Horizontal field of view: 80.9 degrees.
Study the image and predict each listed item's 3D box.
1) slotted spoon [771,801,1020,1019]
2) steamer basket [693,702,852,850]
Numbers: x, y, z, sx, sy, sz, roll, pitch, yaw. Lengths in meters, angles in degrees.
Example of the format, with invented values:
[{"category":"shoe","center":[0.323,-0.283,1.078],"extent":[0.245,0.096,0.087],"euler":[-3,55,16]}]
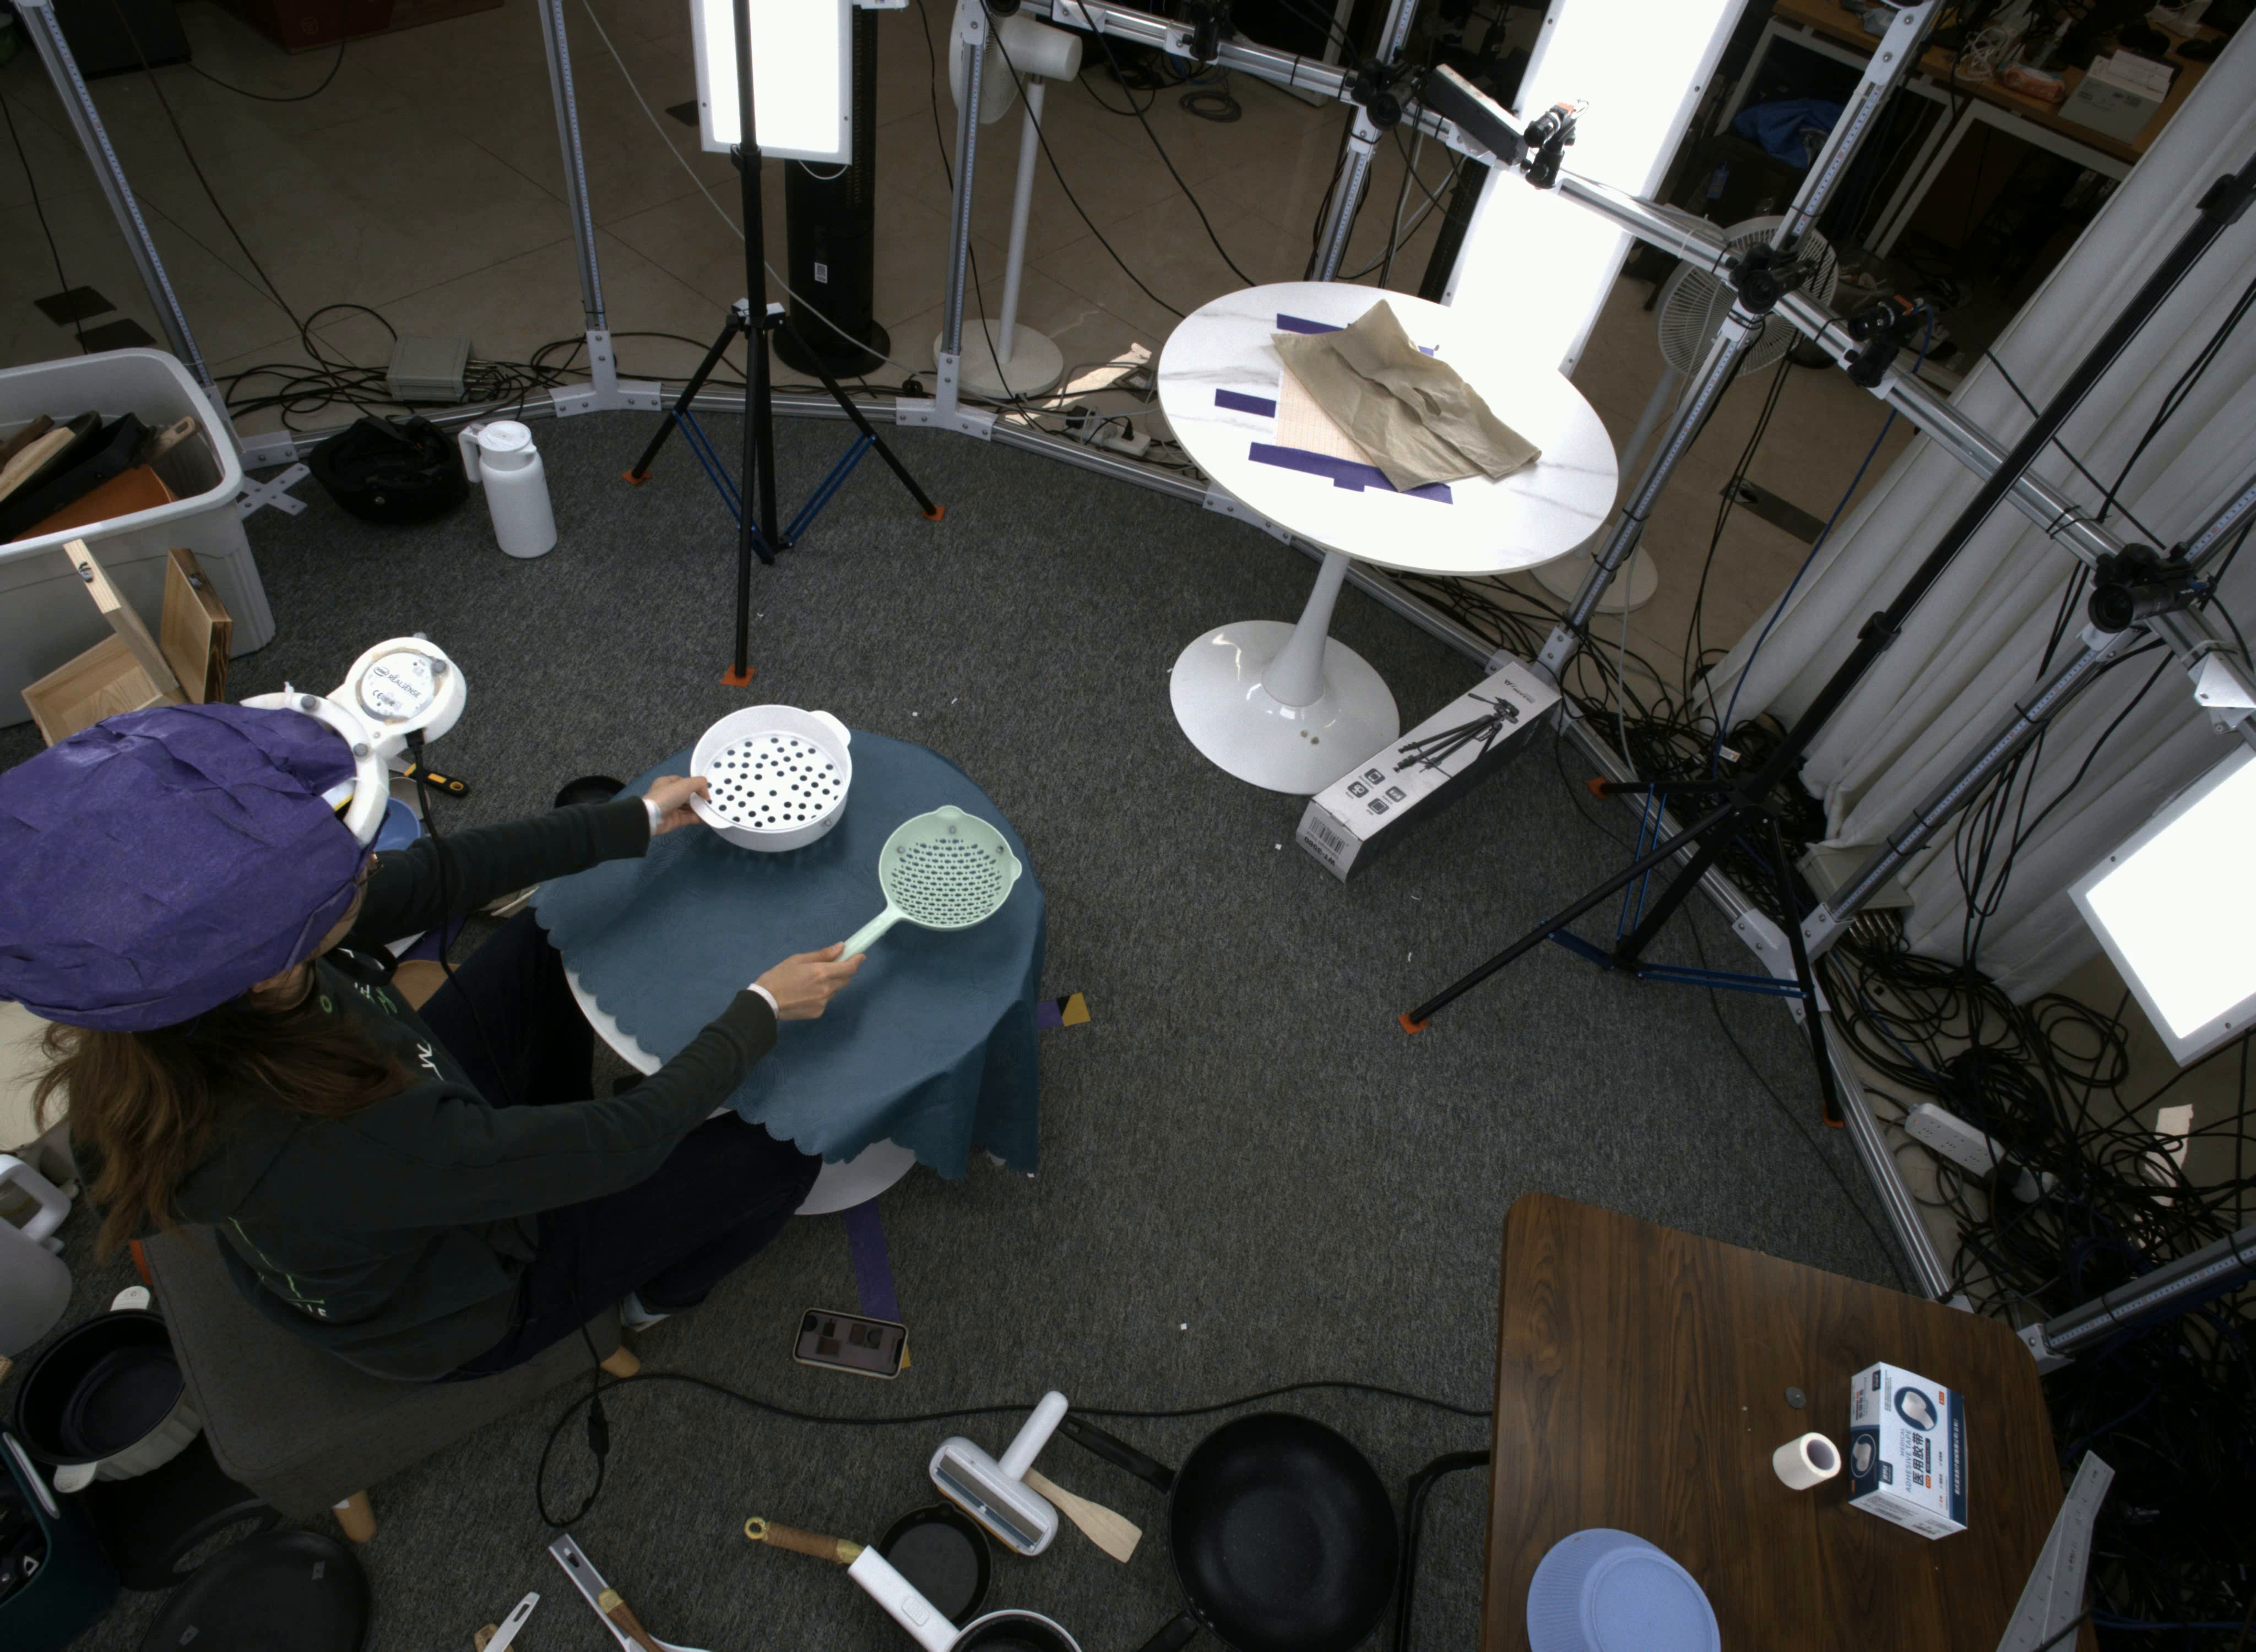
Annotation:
[{"category":"slotted spoon","center":[-0.293,0.110,1.592],"extent":[0.166,0.076,0.359],"euler":[40,51,14]},{"category":"steamer basket","center":[-0.461,-0.064,1.687],"extent":[0.198,0.070,0.230],"euler":[39,57,12]}]
